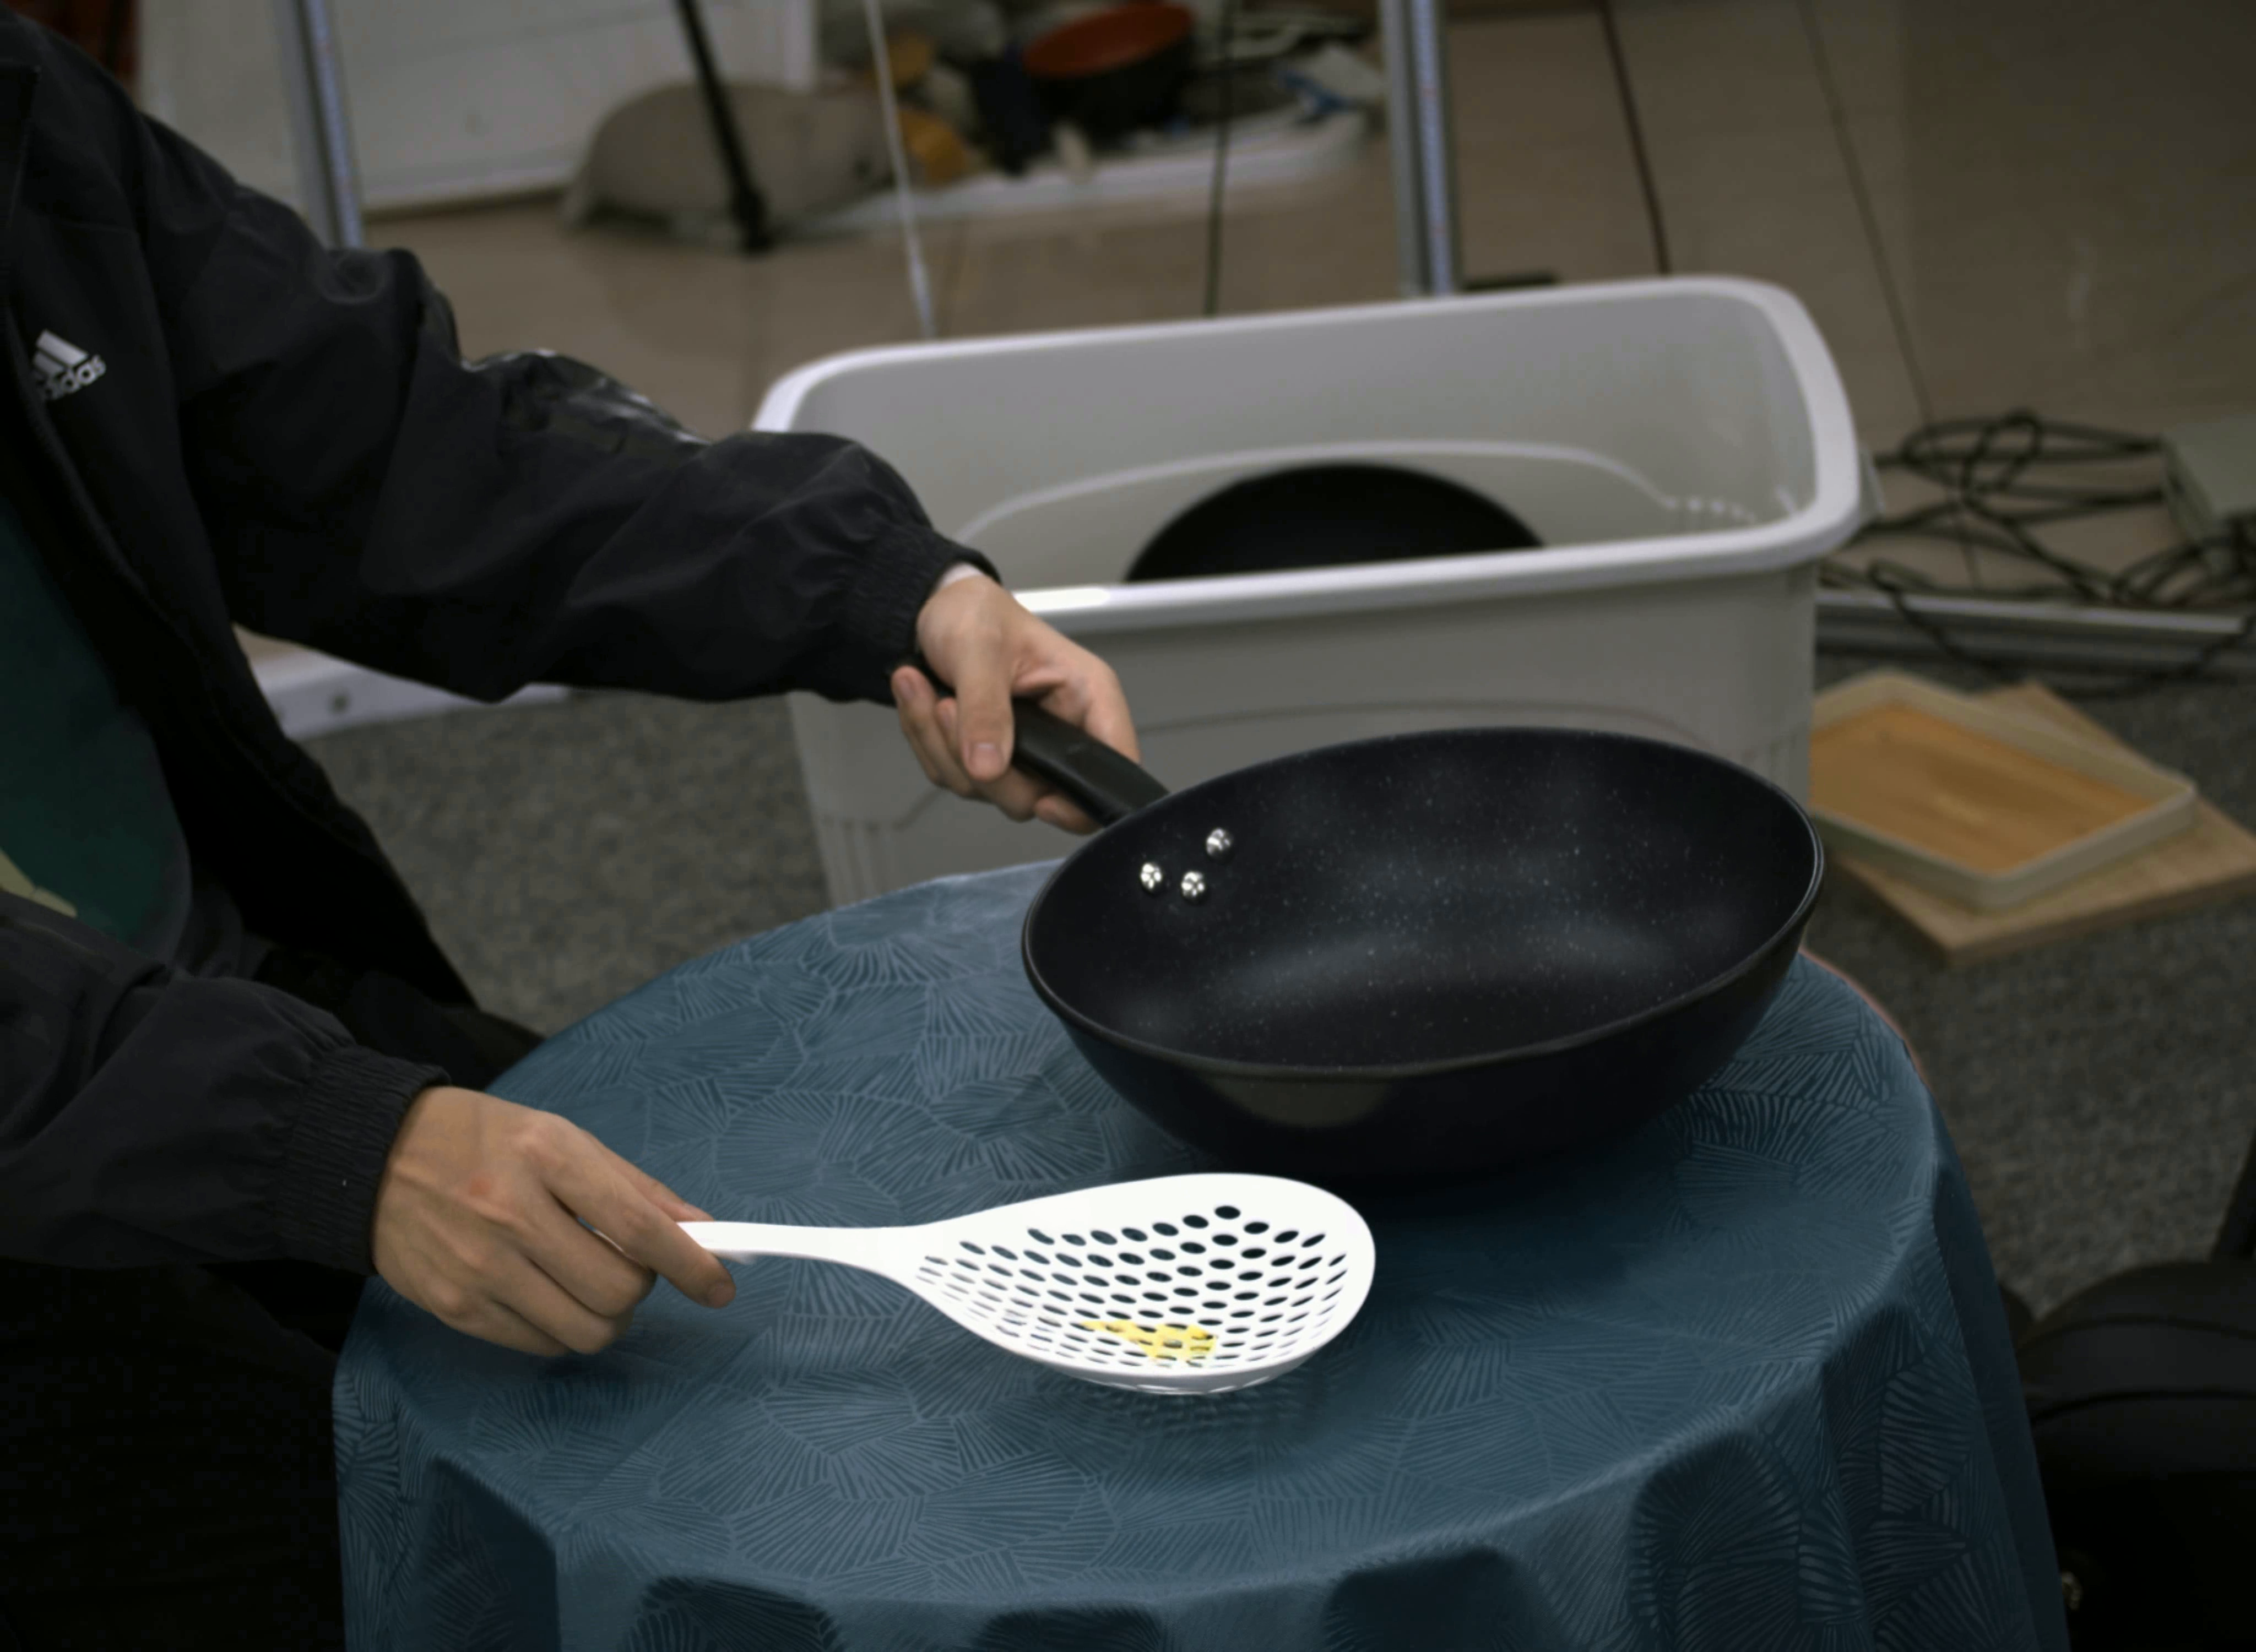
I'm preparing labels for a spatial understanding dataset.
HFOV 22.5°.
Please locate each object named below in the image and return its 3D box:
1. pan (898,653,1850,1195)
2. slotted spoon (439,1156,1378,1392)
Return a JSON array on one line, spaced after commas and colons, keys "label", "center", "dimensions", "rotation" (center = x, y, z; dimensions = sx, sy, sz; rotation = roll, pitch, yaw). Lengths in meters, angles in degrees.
[{"label": "pan", "center": [0.068, 0.034, 2.229], "dimensions": [0.308, 0.113, 0.473], "rotation": [-24, 29, -34]}, {"label": "slotted spoon", "center": [-0.082, 0.162, 2.043], "dimensions": [0.347, 0.051, 0.135], "rotation": [5, 31, 12]}]
